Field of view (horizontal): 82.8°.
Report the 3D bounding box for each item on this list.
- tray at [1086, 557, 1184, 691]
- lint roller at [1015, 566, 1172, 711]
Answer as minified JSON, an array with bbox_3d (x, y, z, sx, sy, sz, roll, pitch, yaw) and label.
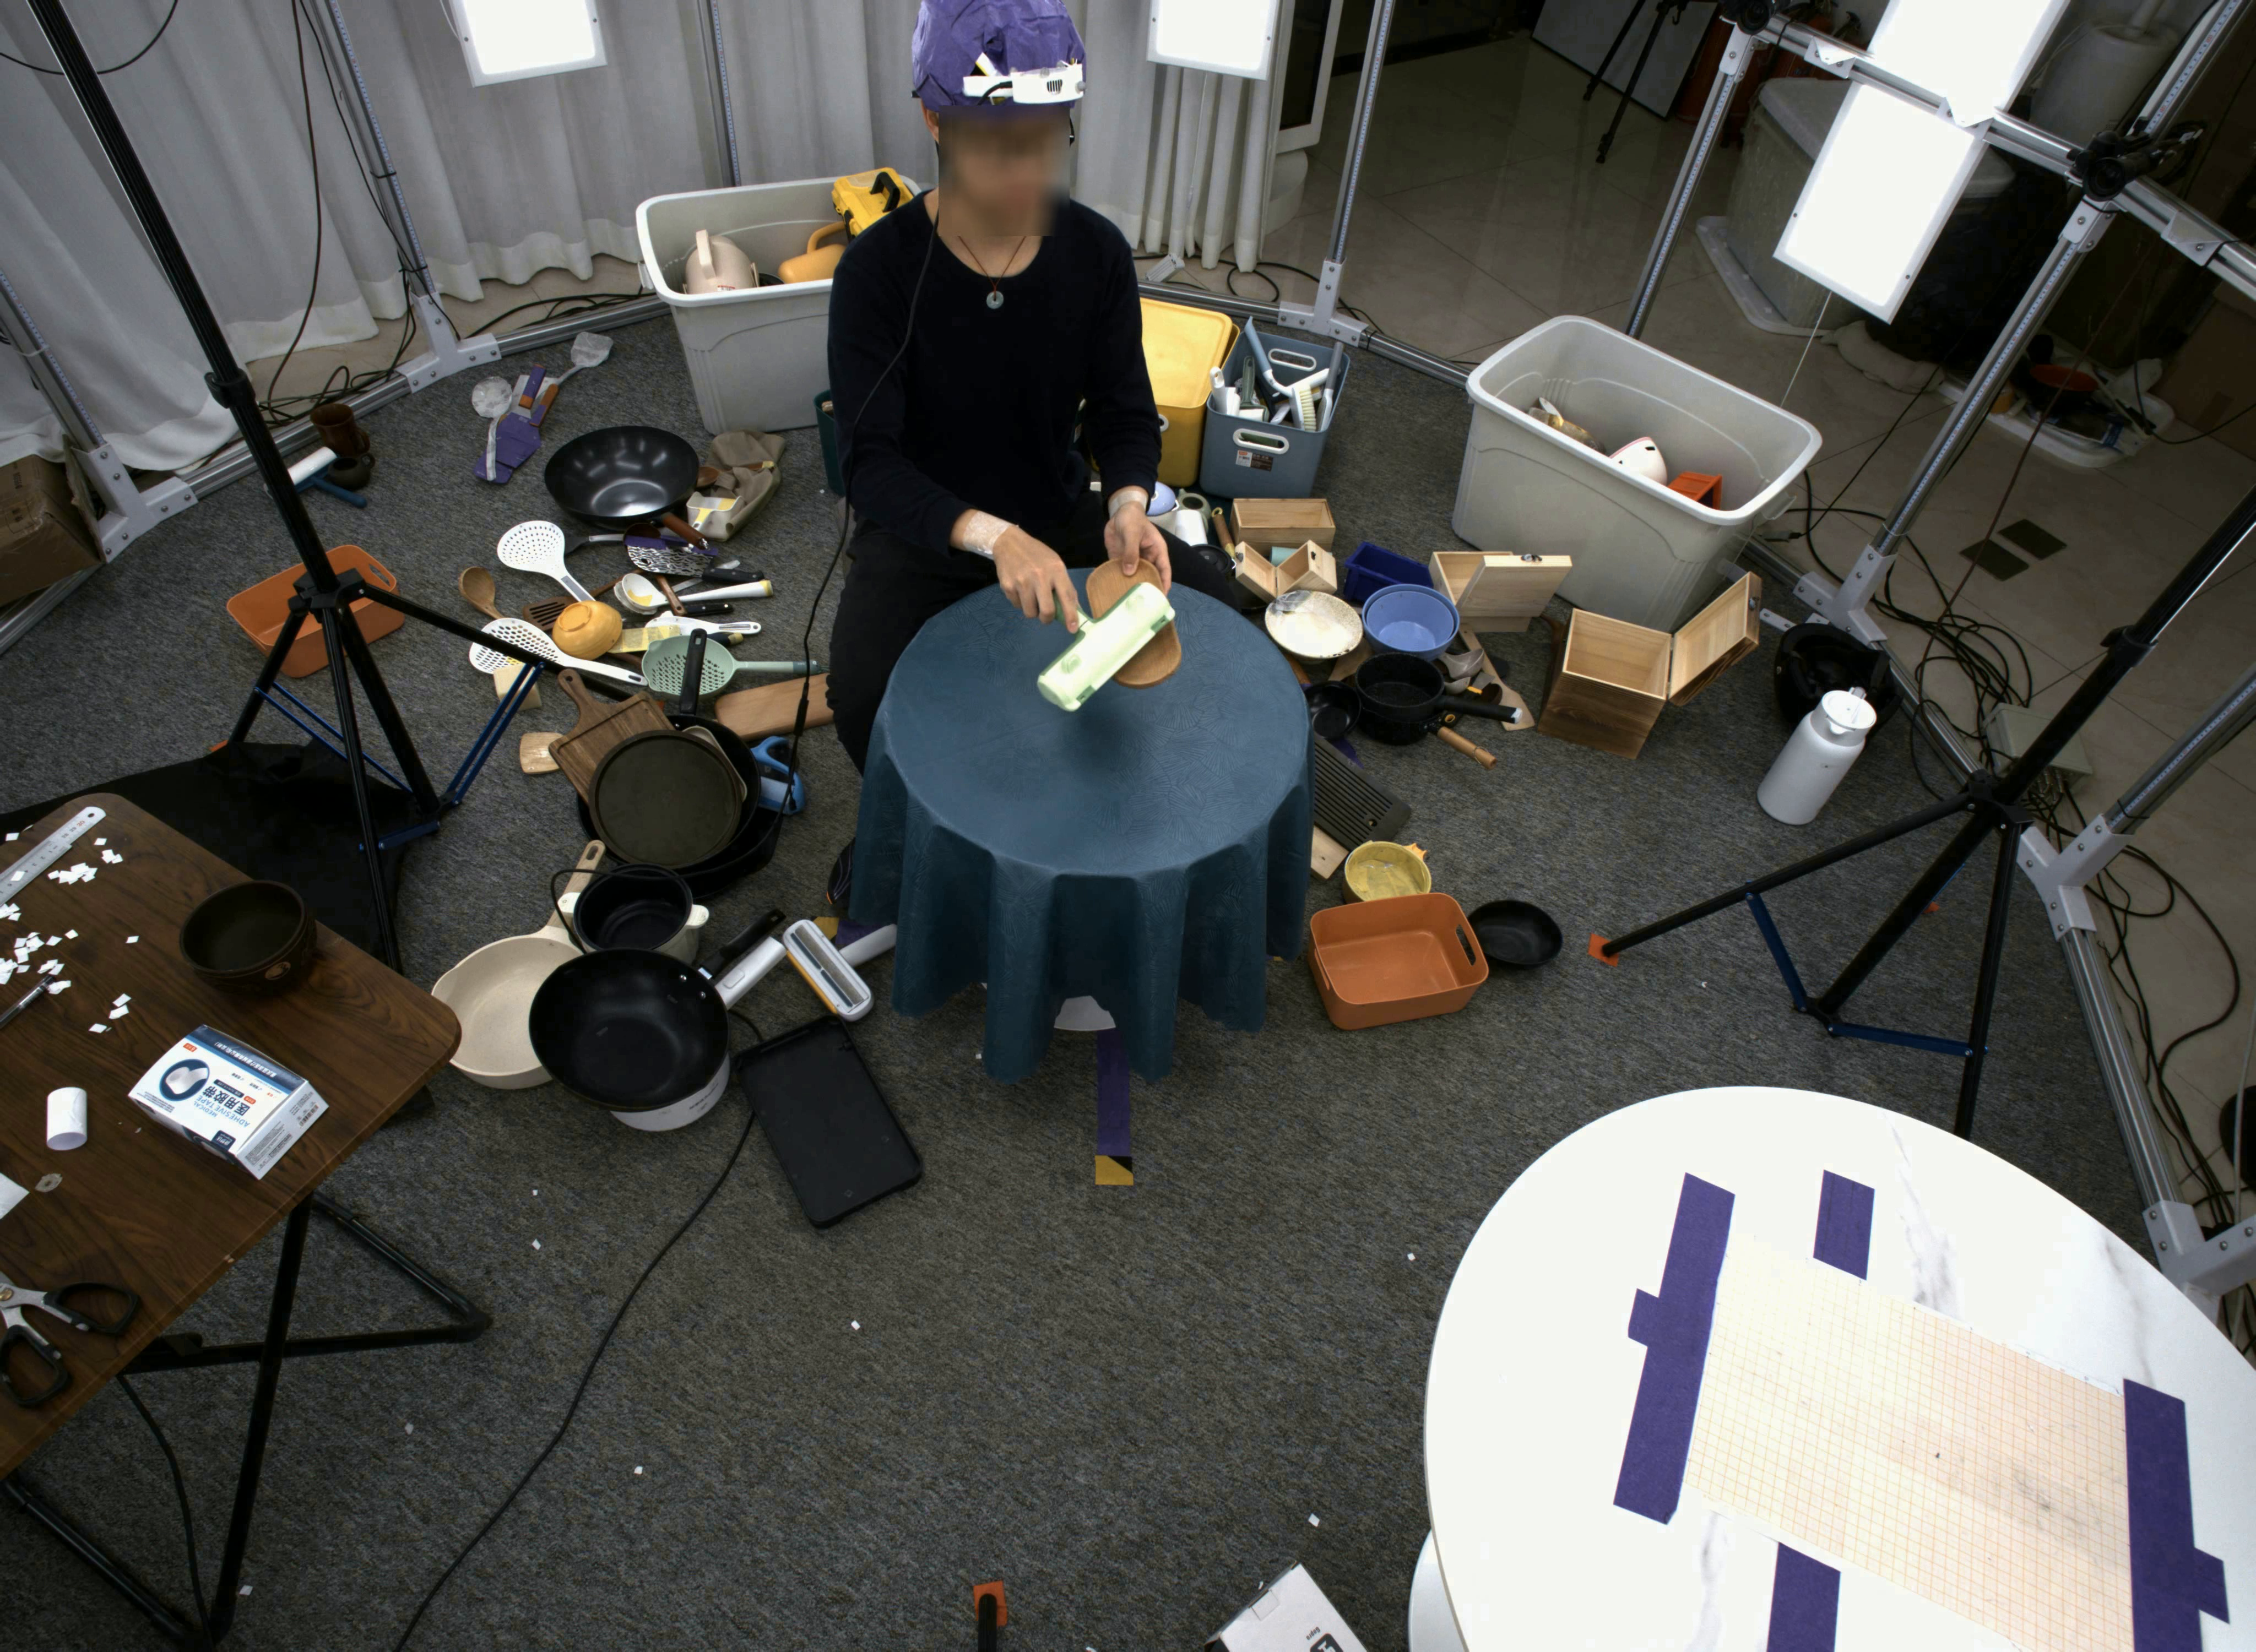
[{"bbox_3d":[0.008,-0.265,1.671,0.101,0.020,0.237,-15,55,1],"label":"tray"},{"bbox_3d":[-0.070,-0.269,1.606,0.183,0.081,0.200,44,73,0],"label":"lint roller"}]
